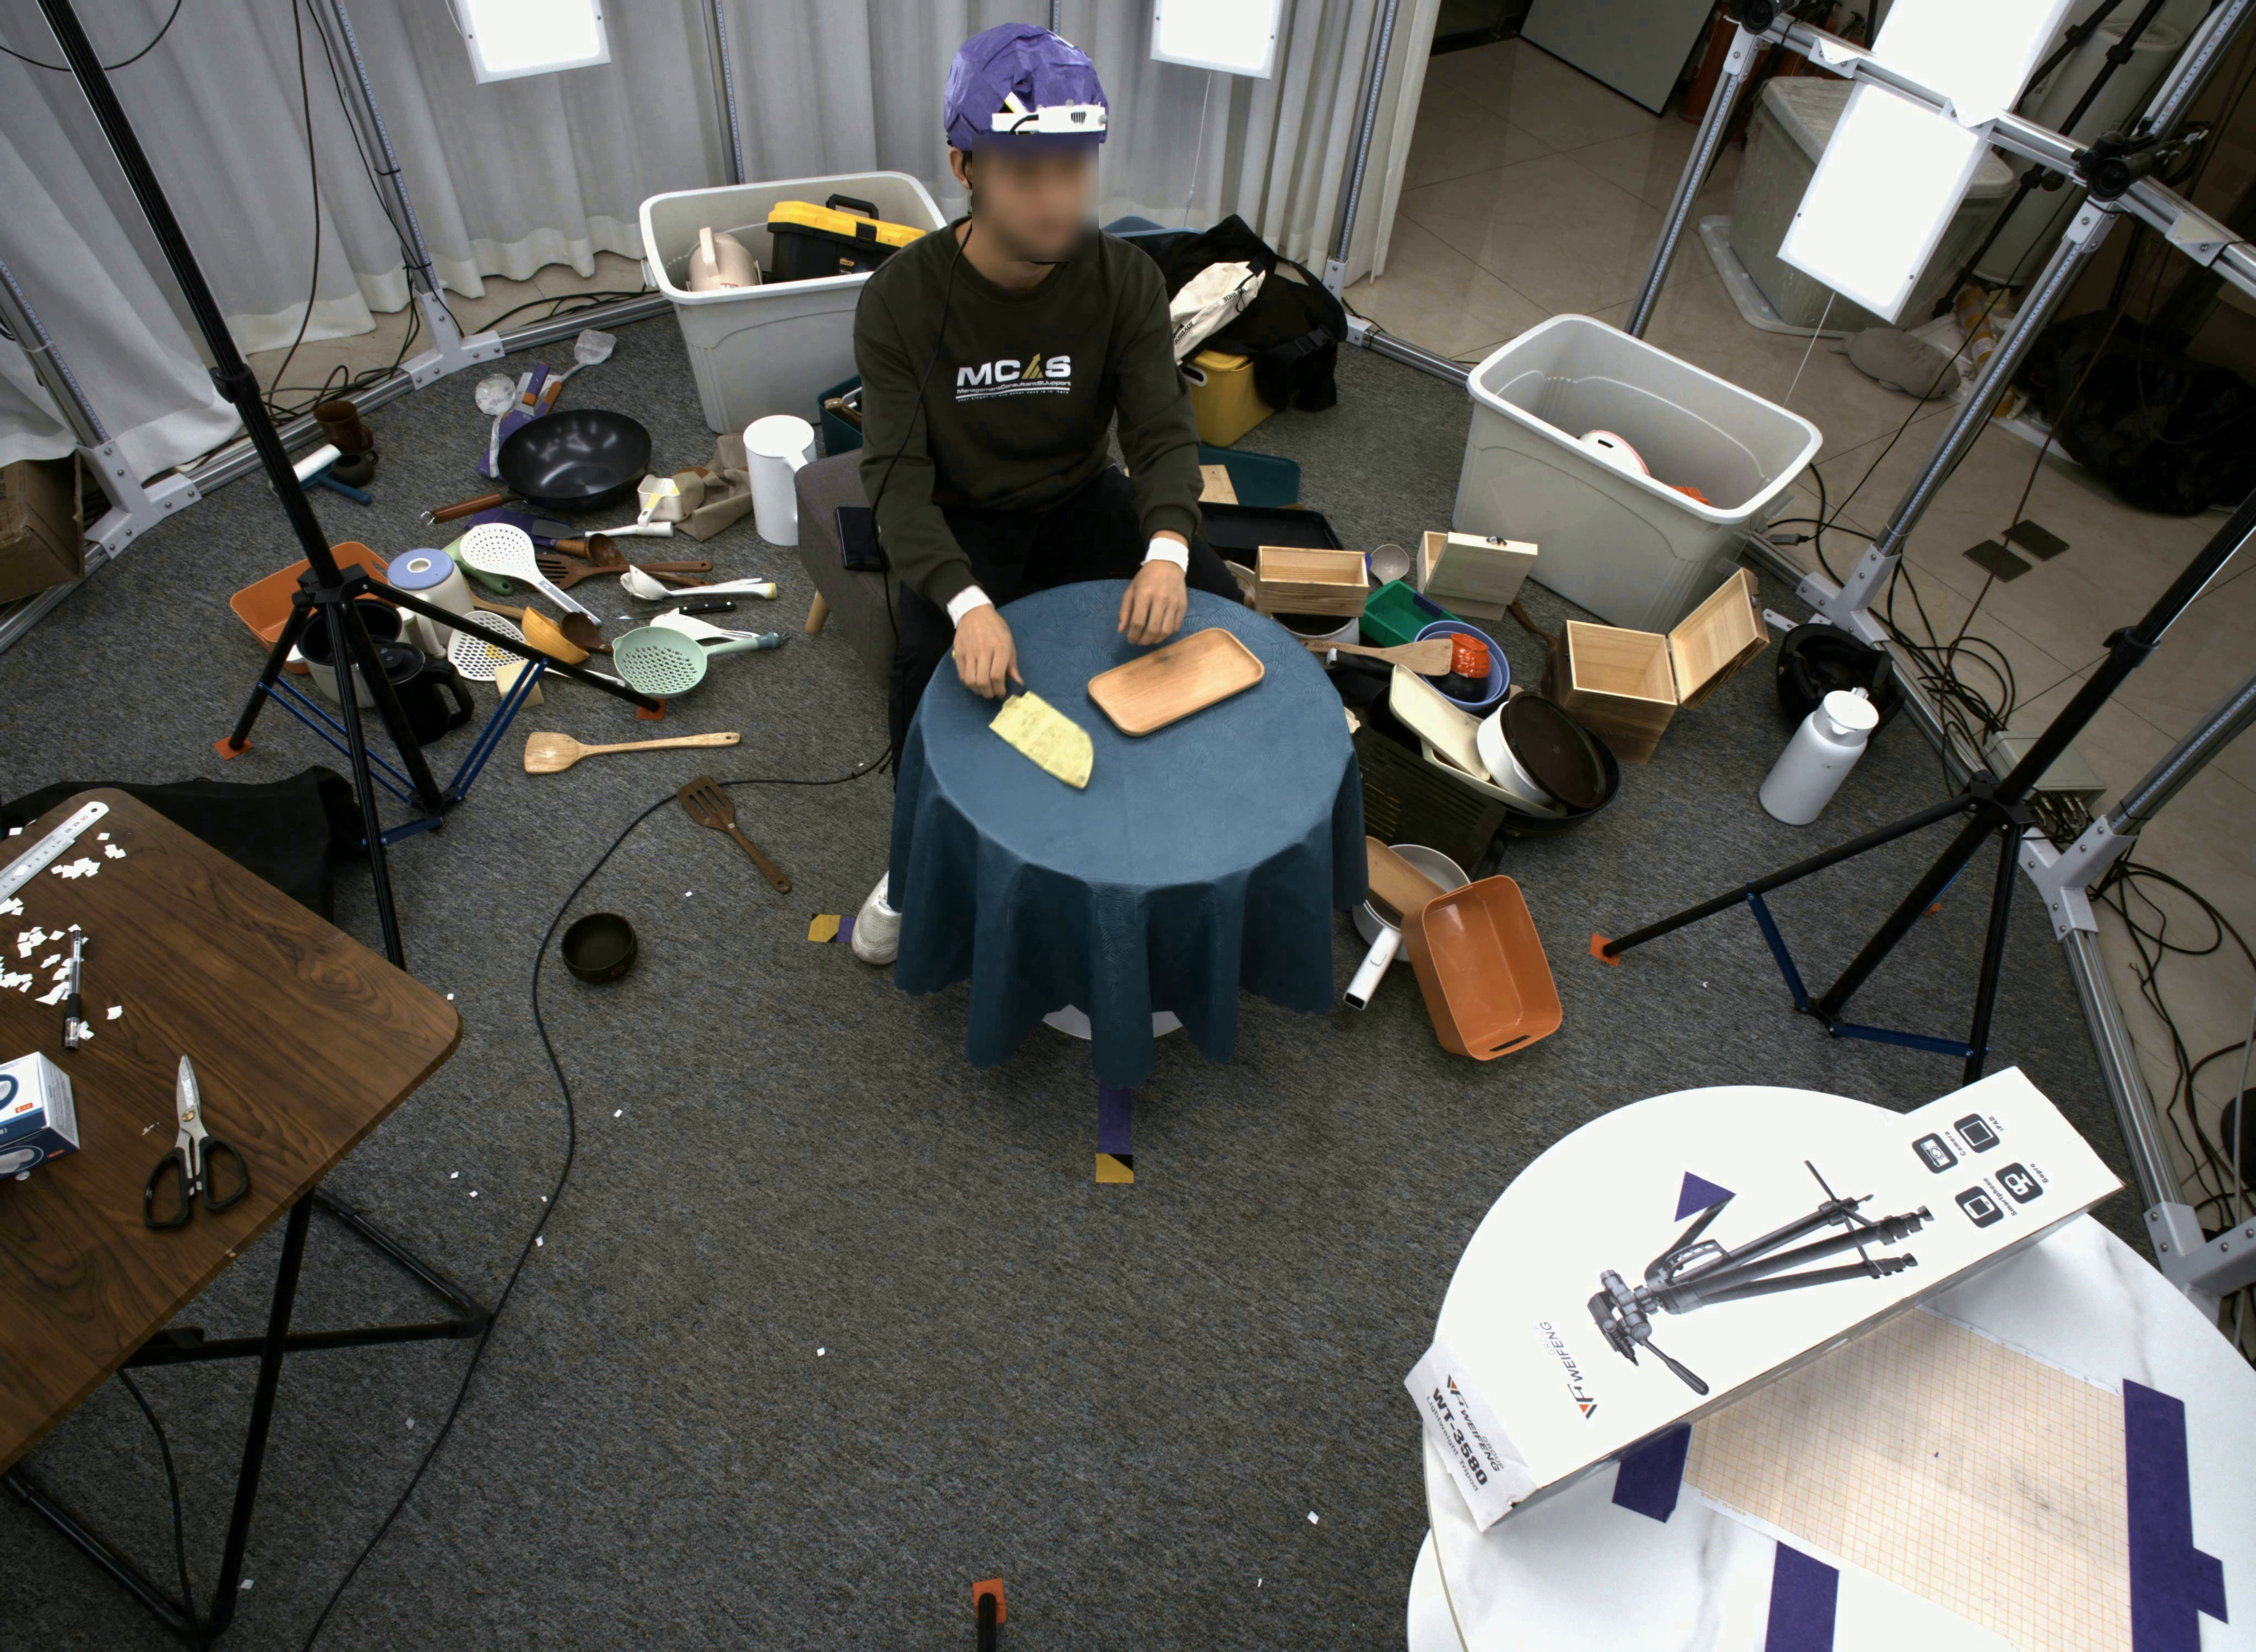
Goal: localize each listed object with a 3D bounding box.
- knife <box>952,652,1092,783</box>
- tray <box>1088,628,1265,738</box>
[{"bbox_3d":[-0.152,-0.150,1.762,0.081,0.027,0.294,-46,63,-6],"label":"knife"},{"bbox_3d":[0.071,-0.207,1.841,0.252,0.022,0.133,-26,53,-23],"label":"tray"}]
